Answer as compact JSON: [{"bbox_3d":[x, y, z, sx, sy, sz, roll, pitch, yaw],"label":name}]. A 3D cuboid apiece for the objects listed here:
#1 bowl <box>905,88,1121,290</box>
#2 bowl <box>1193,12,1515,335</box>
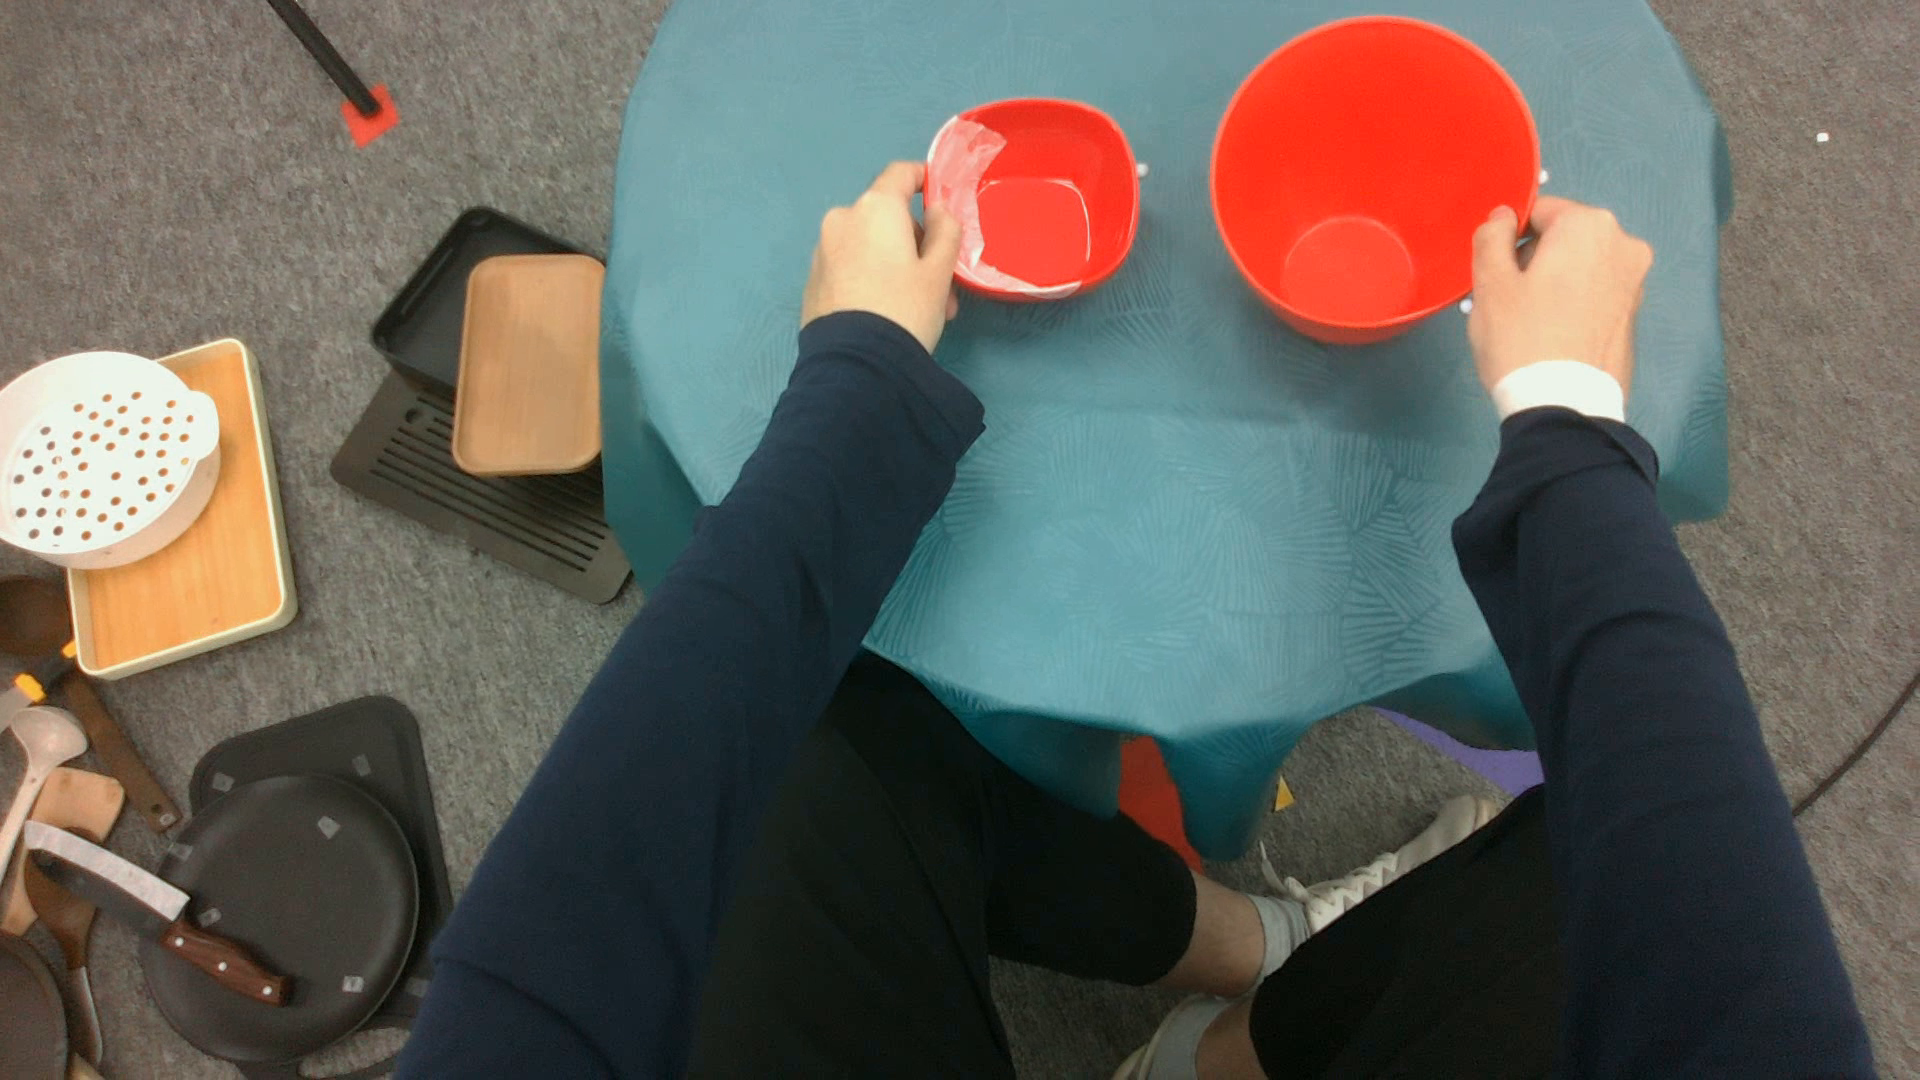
[{"bbox_3d":[0.027,-0.176,0.723,0.119,0.051,0.119,0,74,-1],"label":"bowl"},{"bbox_3d":[0.191,-0.168,0.688,0.148,0.104,0.148,-2,74,8],"label":"bowl"}]
